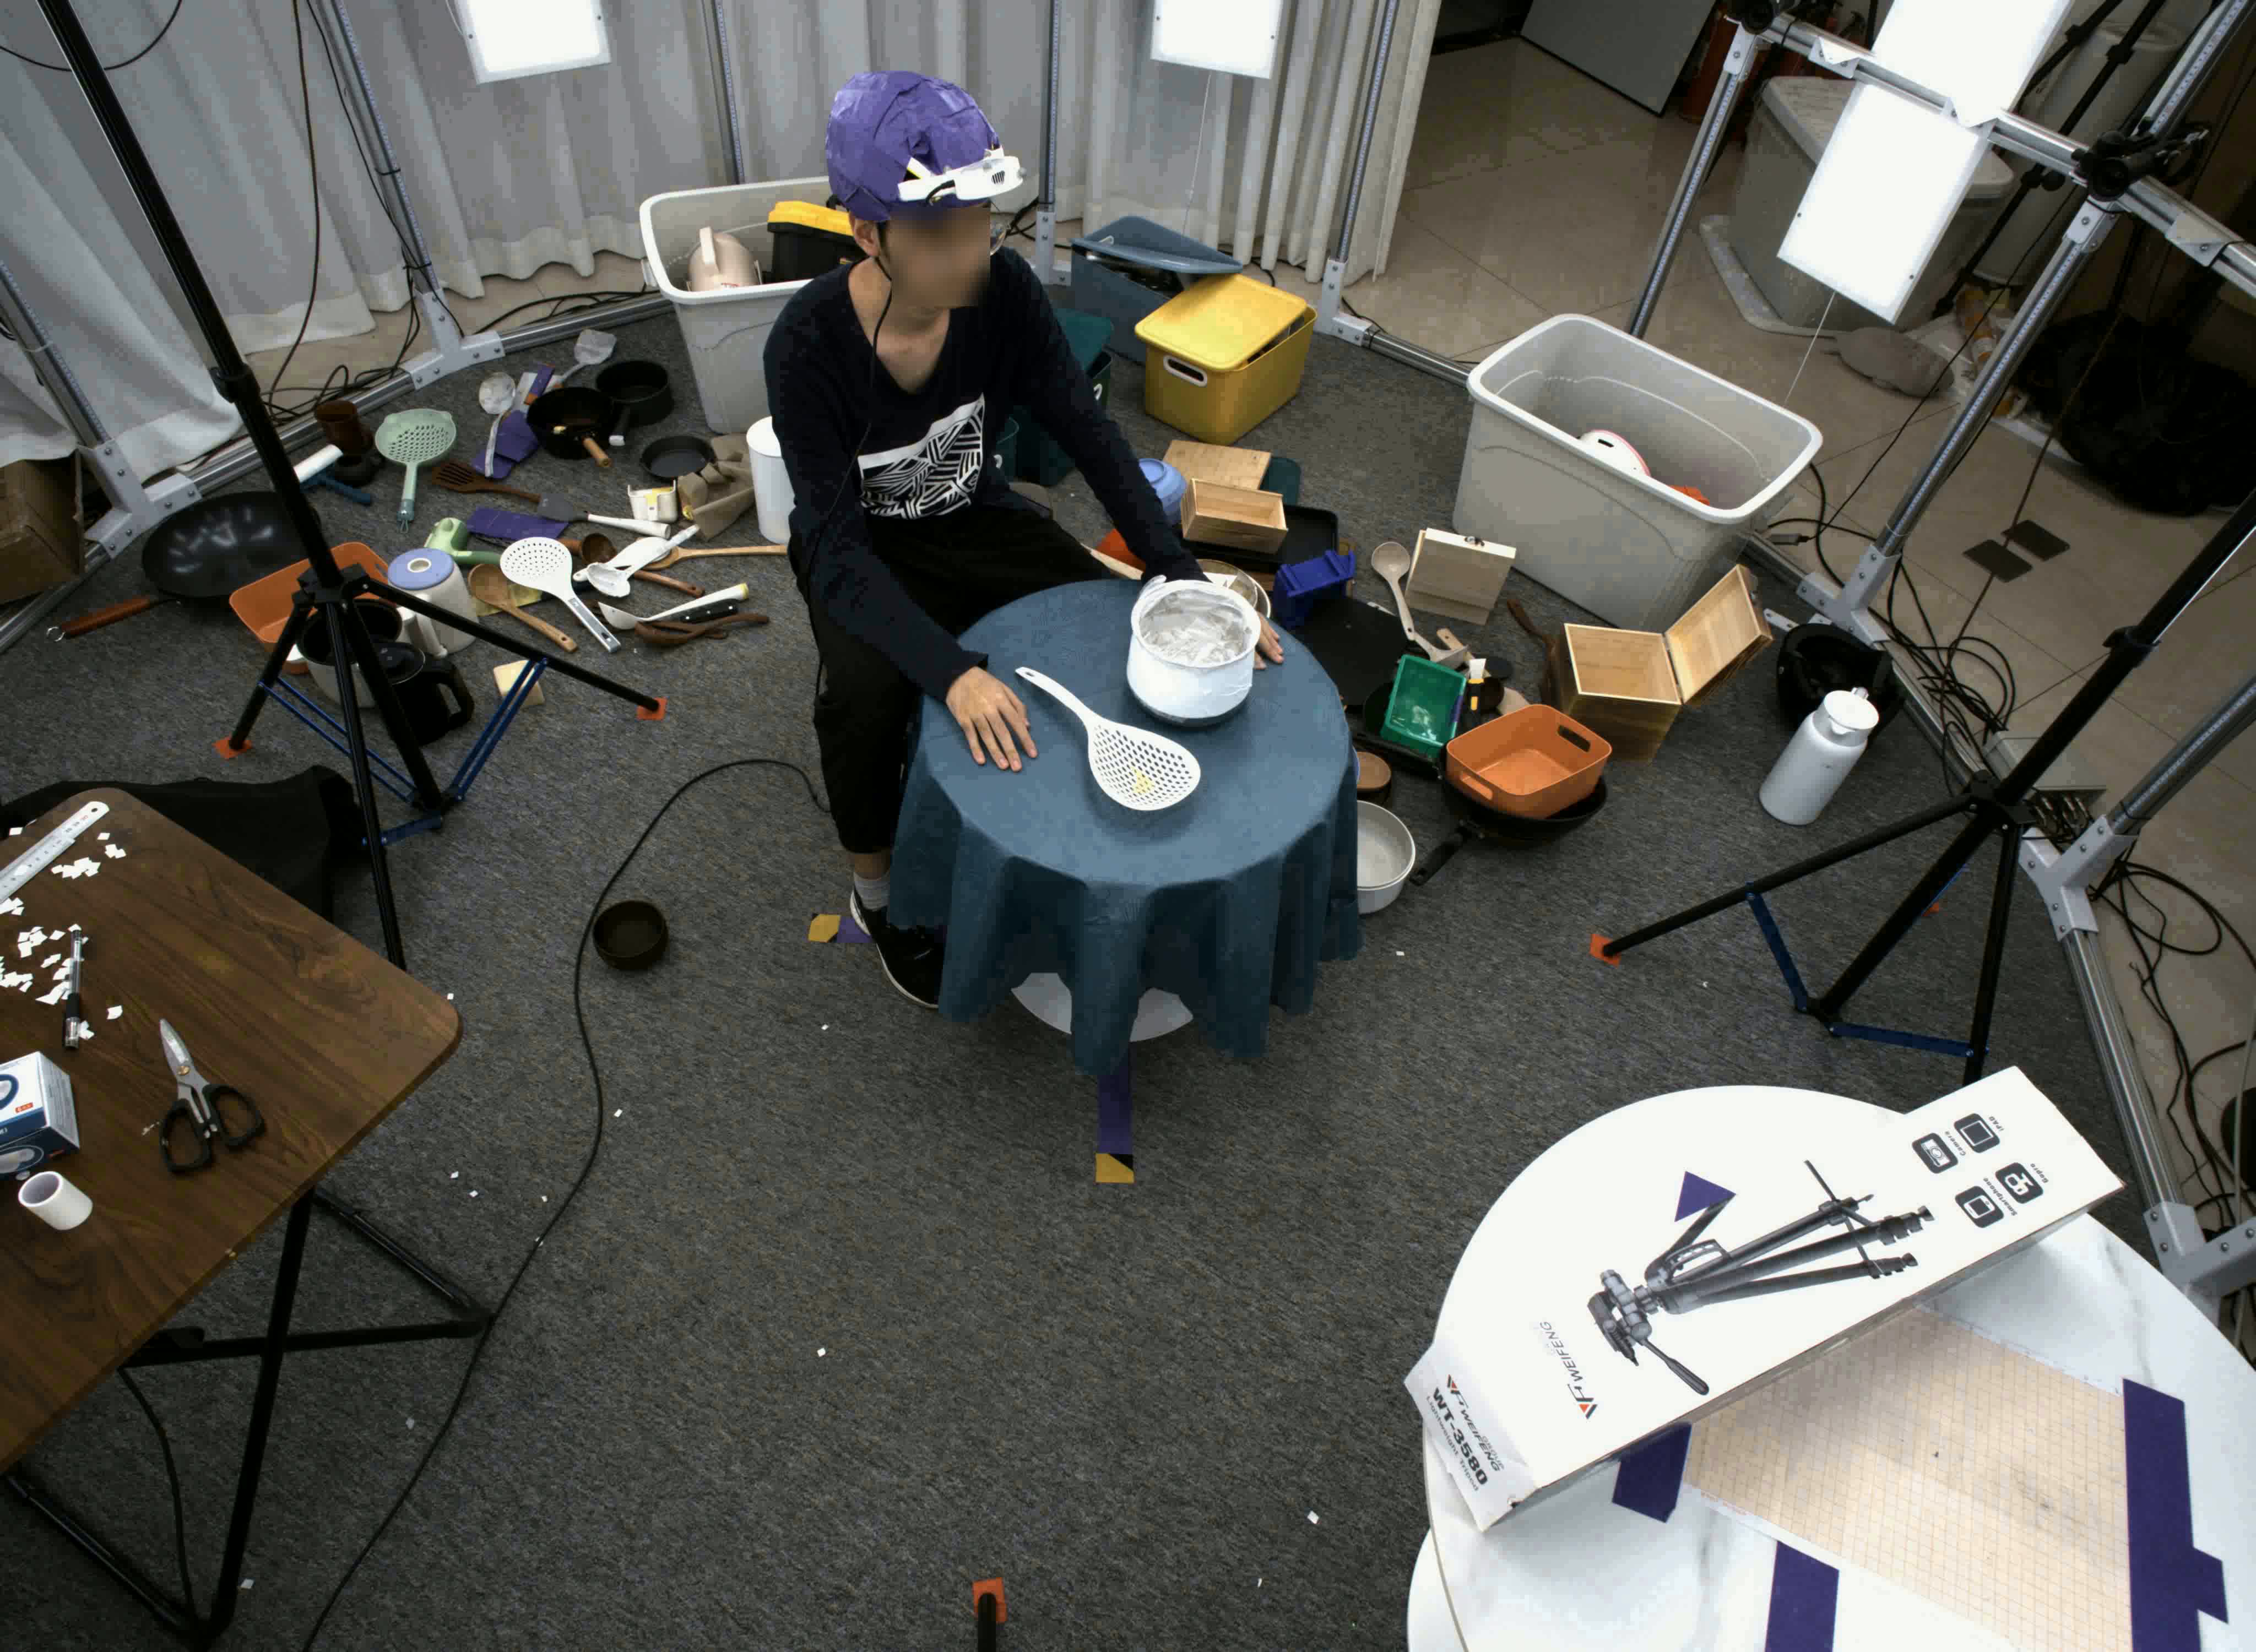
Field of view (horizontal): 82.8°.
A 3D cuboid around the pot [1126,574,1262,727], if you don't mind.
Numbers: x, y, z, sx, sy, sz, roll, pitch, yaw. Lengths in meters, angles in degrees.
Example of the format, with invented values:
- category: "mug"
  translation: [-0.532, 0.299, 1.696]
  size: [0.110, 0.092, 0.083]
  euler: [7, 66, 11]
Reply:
- category: "pot"
  translation: [0.075, -0.256, 1.806]
  size: [0.179, 0.133, 0.239]
  euler: [-20, 54, -22]

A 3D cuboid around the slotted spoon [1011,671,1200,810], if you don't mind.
- category: "slotted spoon"
  translation: [-0.046, -0.130, 1.748]
  size: [0.138, 0.049, 0.354]
  euler: [-31, 58, -26]
